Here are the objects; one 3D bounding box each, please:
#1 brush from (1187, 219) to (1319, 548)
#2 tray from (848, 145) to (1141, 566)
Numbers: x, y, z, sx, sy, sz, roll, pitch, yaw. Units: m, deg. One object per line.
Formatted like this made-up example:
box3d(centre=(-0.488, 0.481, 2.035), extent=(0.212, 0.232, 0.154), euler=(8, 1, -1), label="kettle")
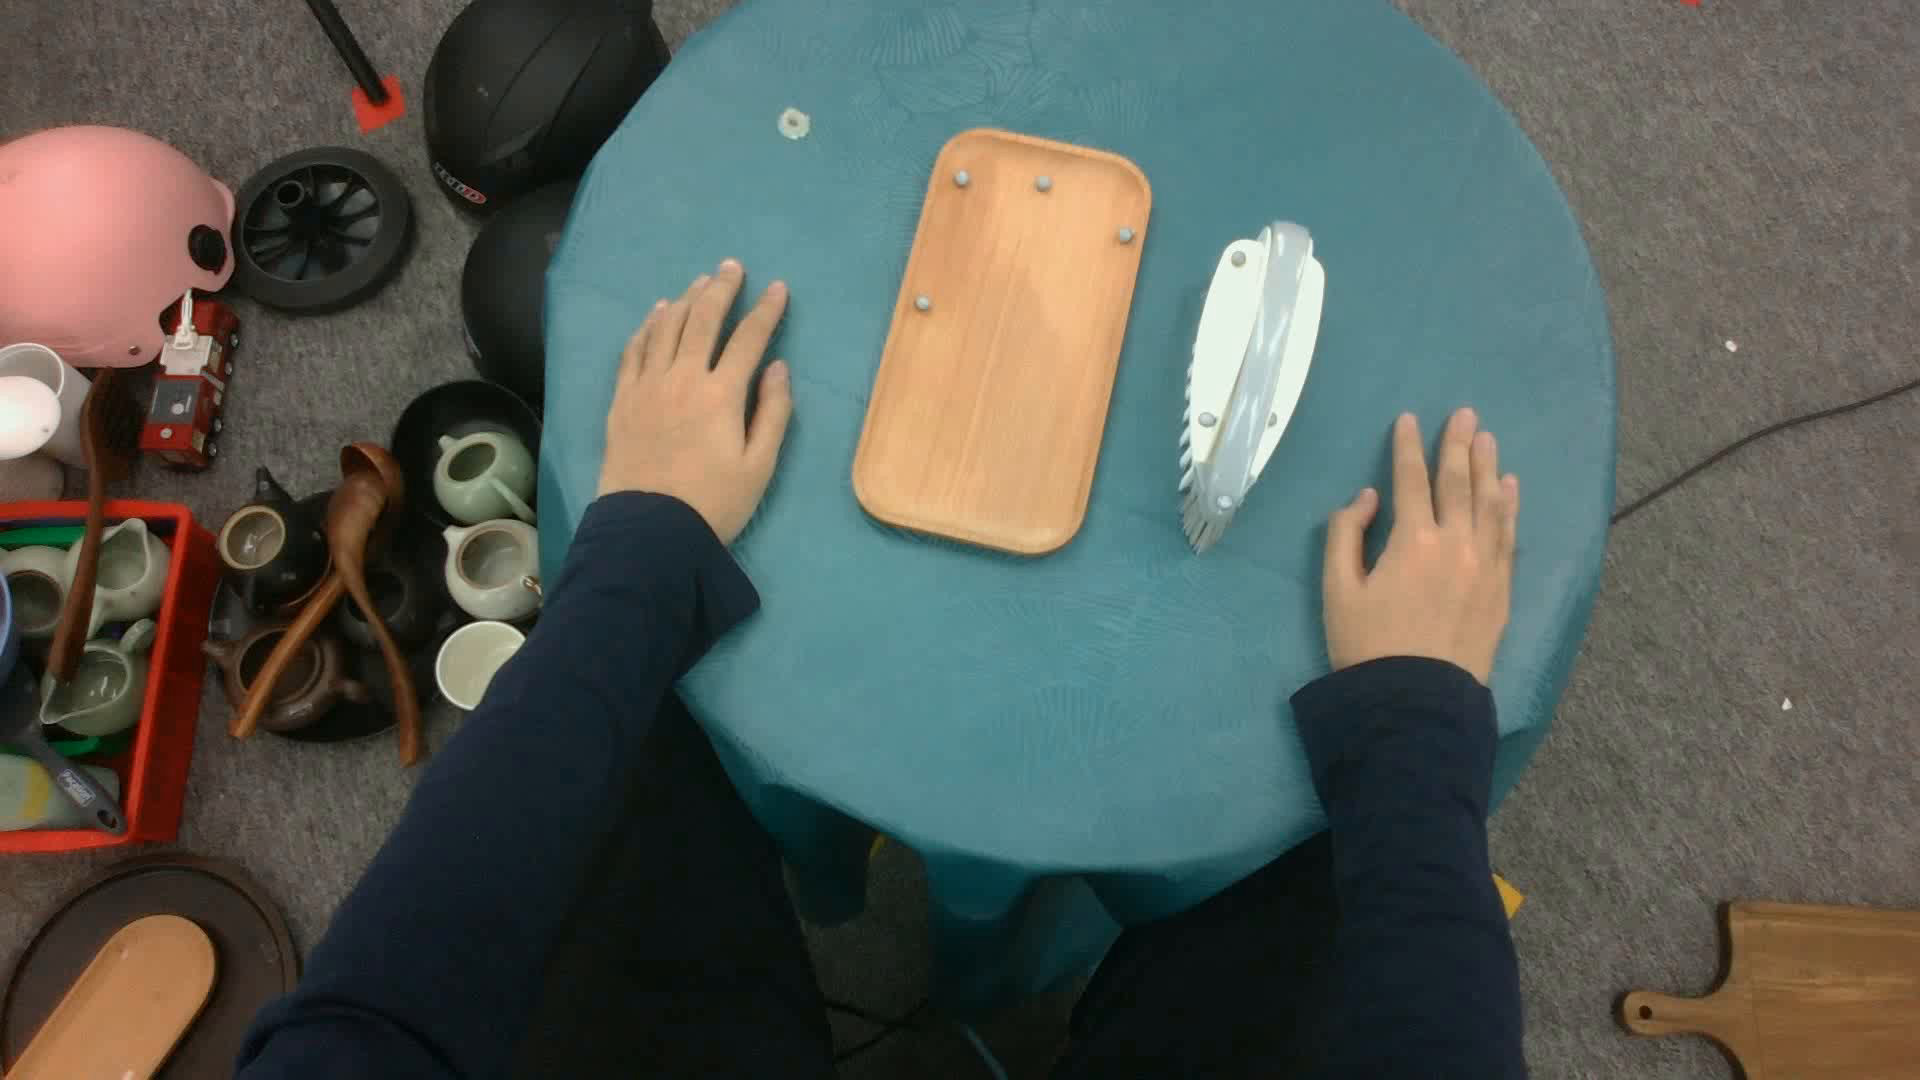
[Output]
box3d(centre=(0.152, -0.089, 0.730), extent=(0.061, 0.094, 0.176), euler=(13, 73, 6), label="brush")
box3d(centre=(0.023, -0.109, 0.776), extent=(0.130, 0.023, 0.251), euler=(11, 71, 6), label="tray")
